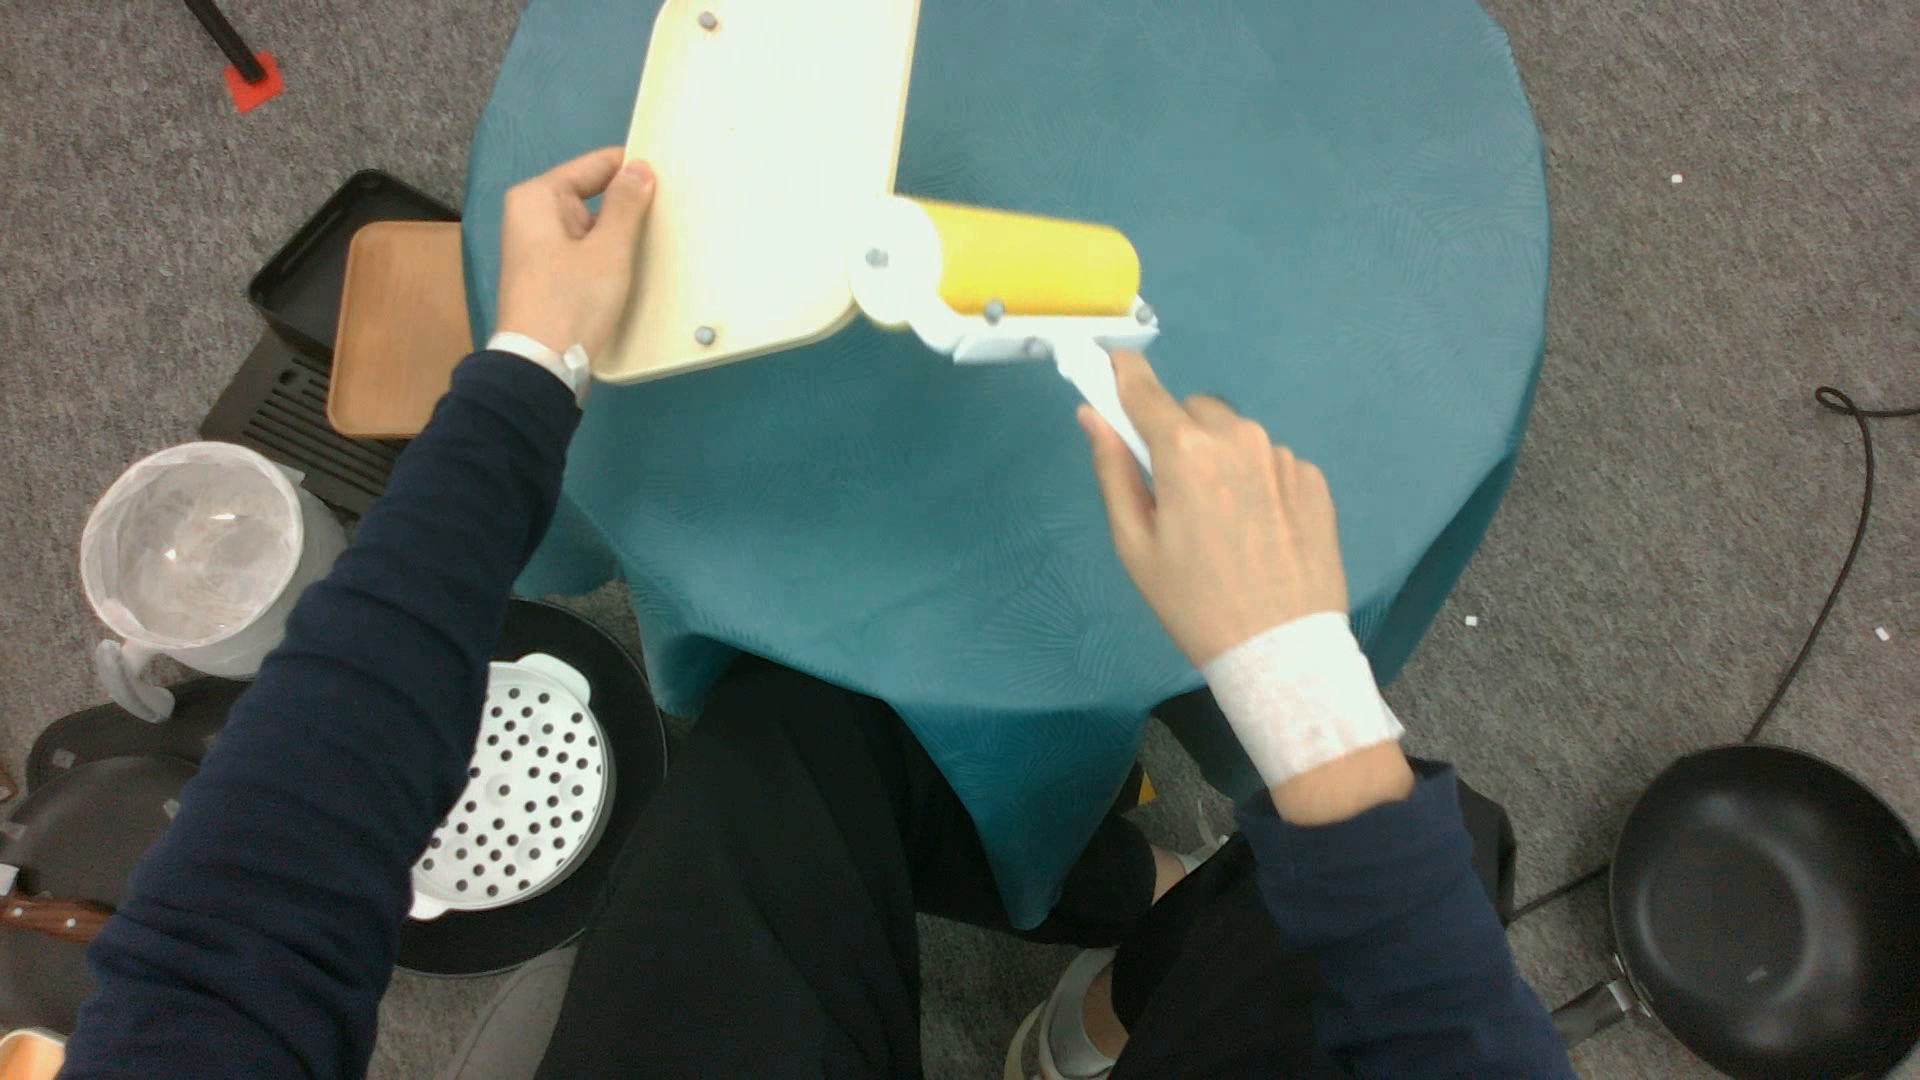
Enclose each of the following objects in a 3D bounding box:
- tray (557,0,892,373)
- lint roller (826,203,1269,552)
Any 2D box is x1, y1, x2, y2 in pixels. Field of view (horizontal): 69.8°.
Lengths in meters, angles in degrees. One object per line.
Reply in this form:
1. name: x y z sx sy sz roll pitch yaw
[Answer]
1. tray: -0.104 -0.191 0.634 0.171 0.017 0.240 -8 65 31
2. lint roller: 0.061 -0.073 0.570 0.192 0.175 0.051 41 119 21
